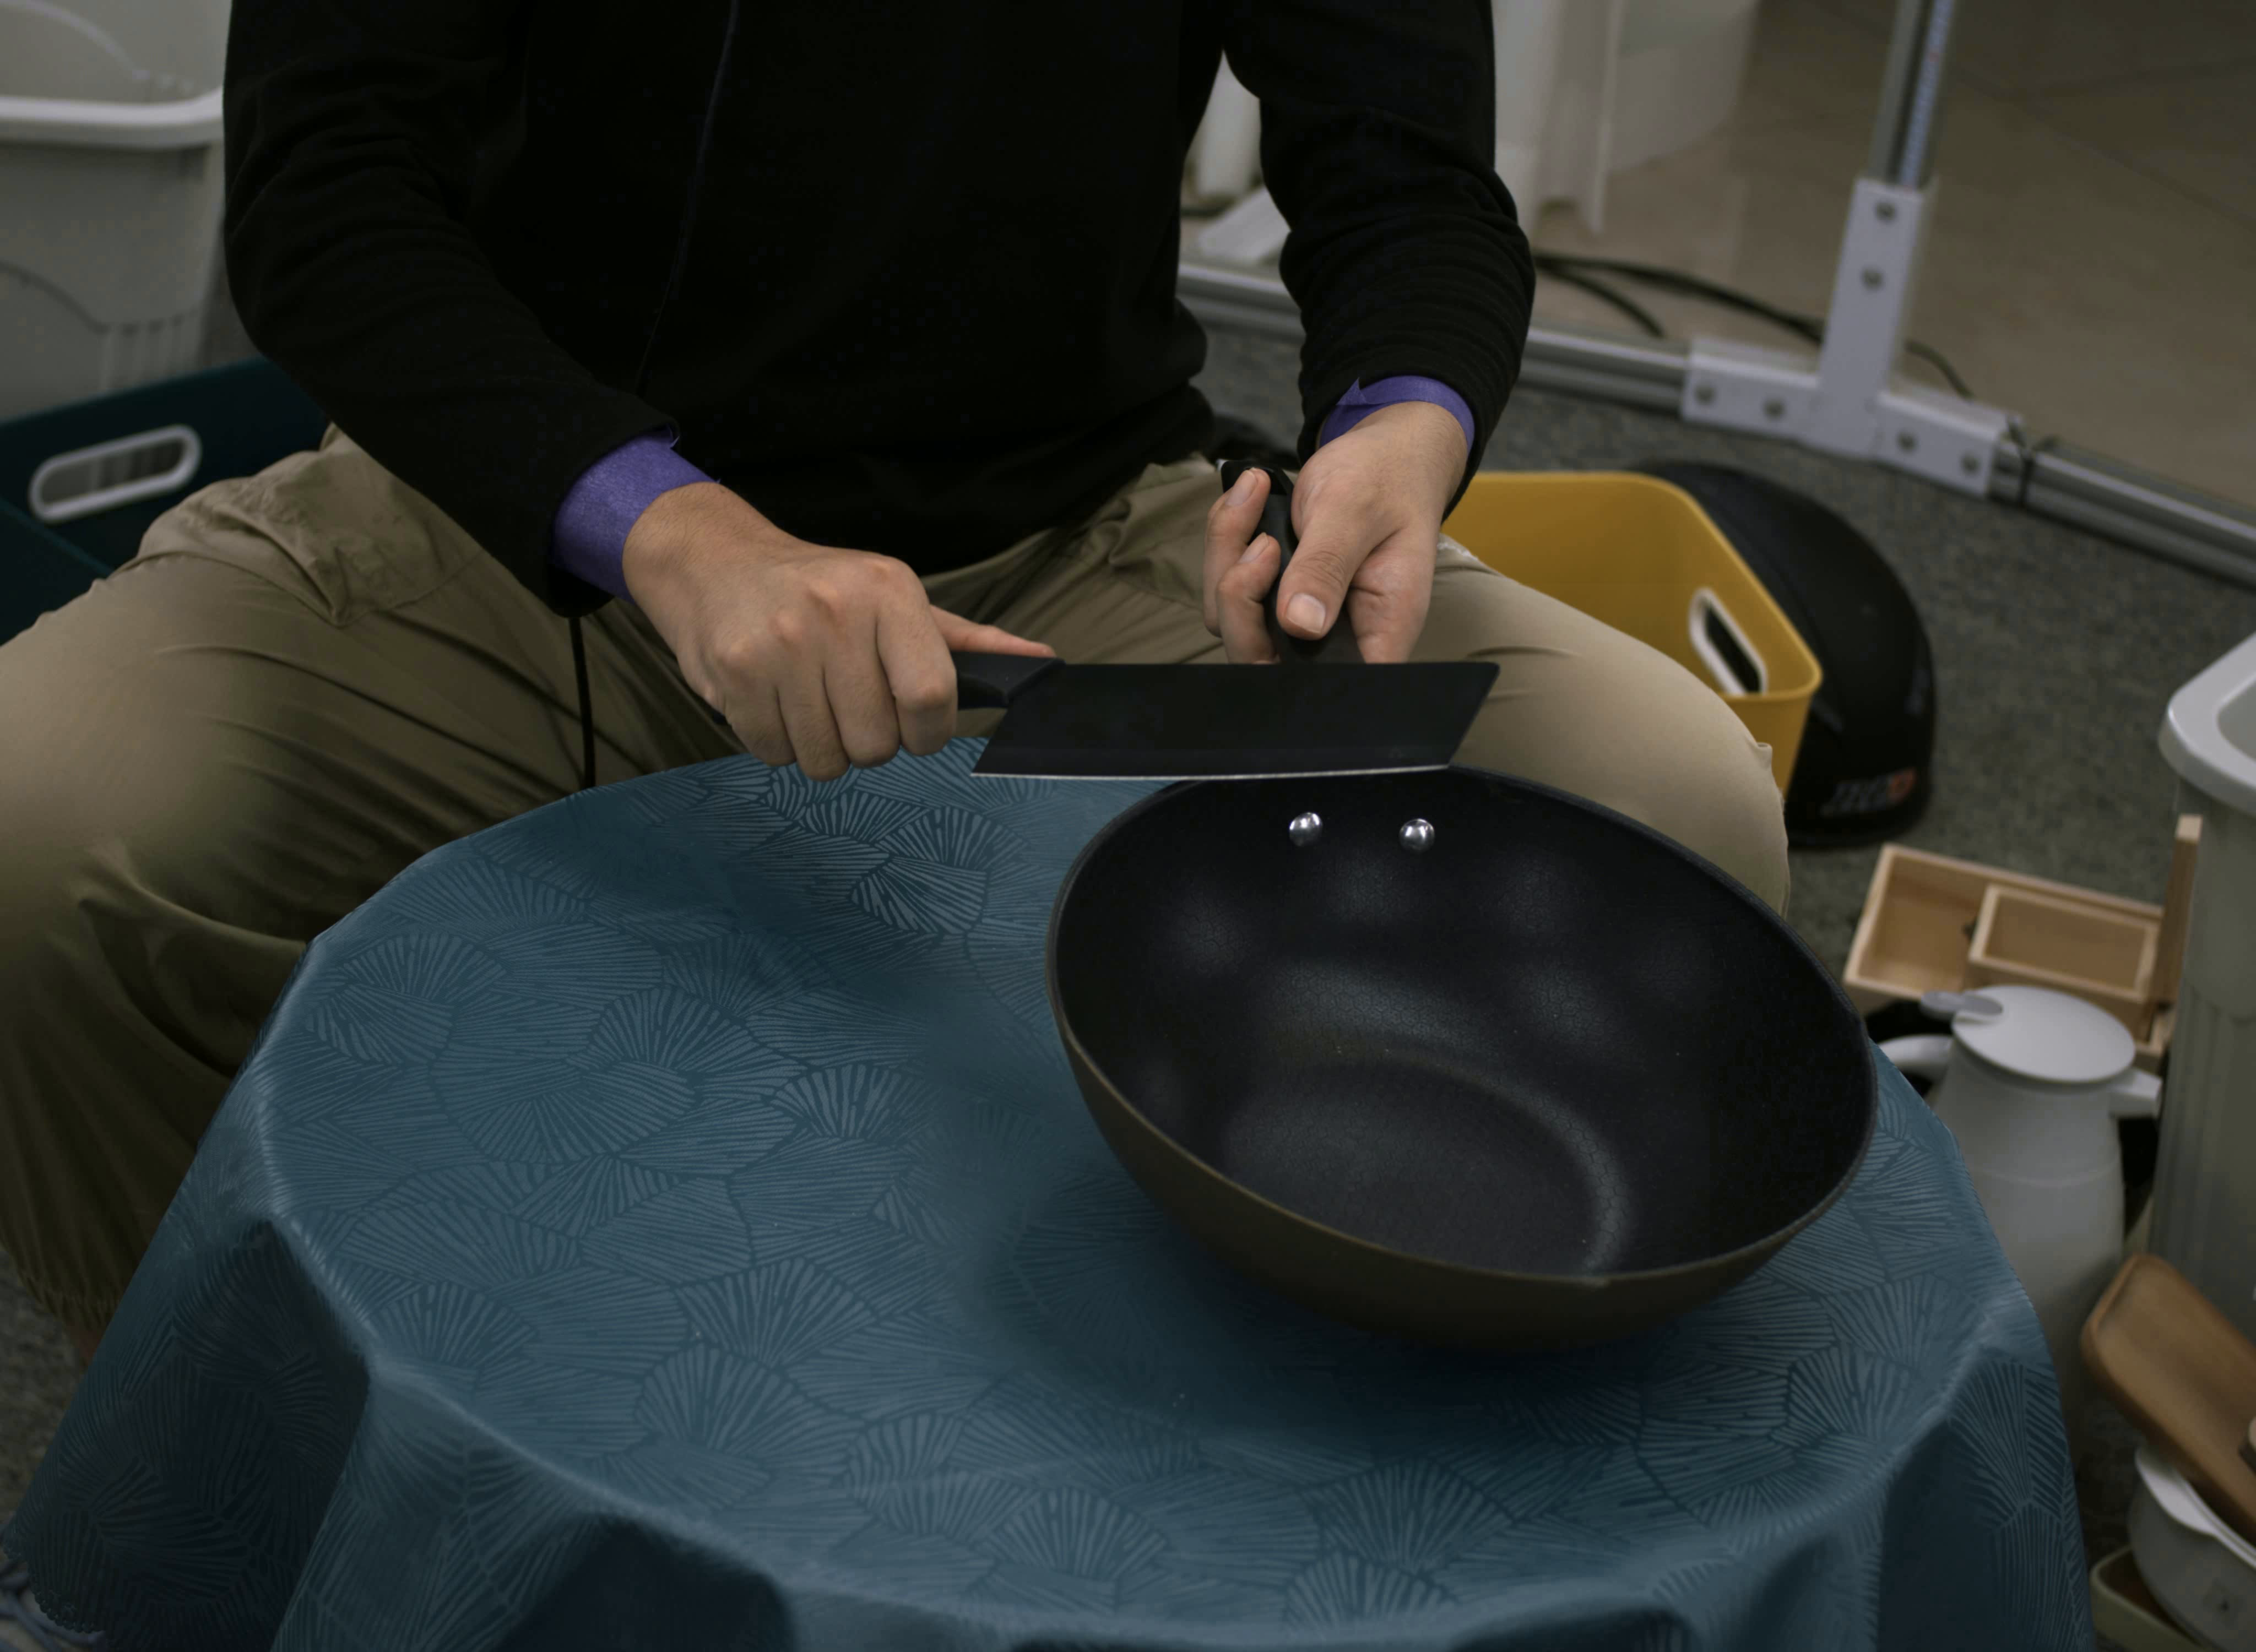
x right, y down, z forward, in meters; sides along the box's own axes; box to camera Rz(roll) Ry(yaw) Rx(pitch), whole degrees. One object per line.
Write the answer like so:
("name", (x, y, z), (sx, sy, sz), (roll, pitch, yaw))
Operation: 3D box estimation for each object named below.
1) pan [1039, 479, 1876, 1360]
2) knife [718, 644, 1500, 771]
("pan", (0.086, 0.035, 1.852), (0.286, 0.086, 0.467), (2, 36, -15))
("knife", (-0.014, -0.042, 1.874), (0.303, 0.021, 0.081), (3, 38, 31))
